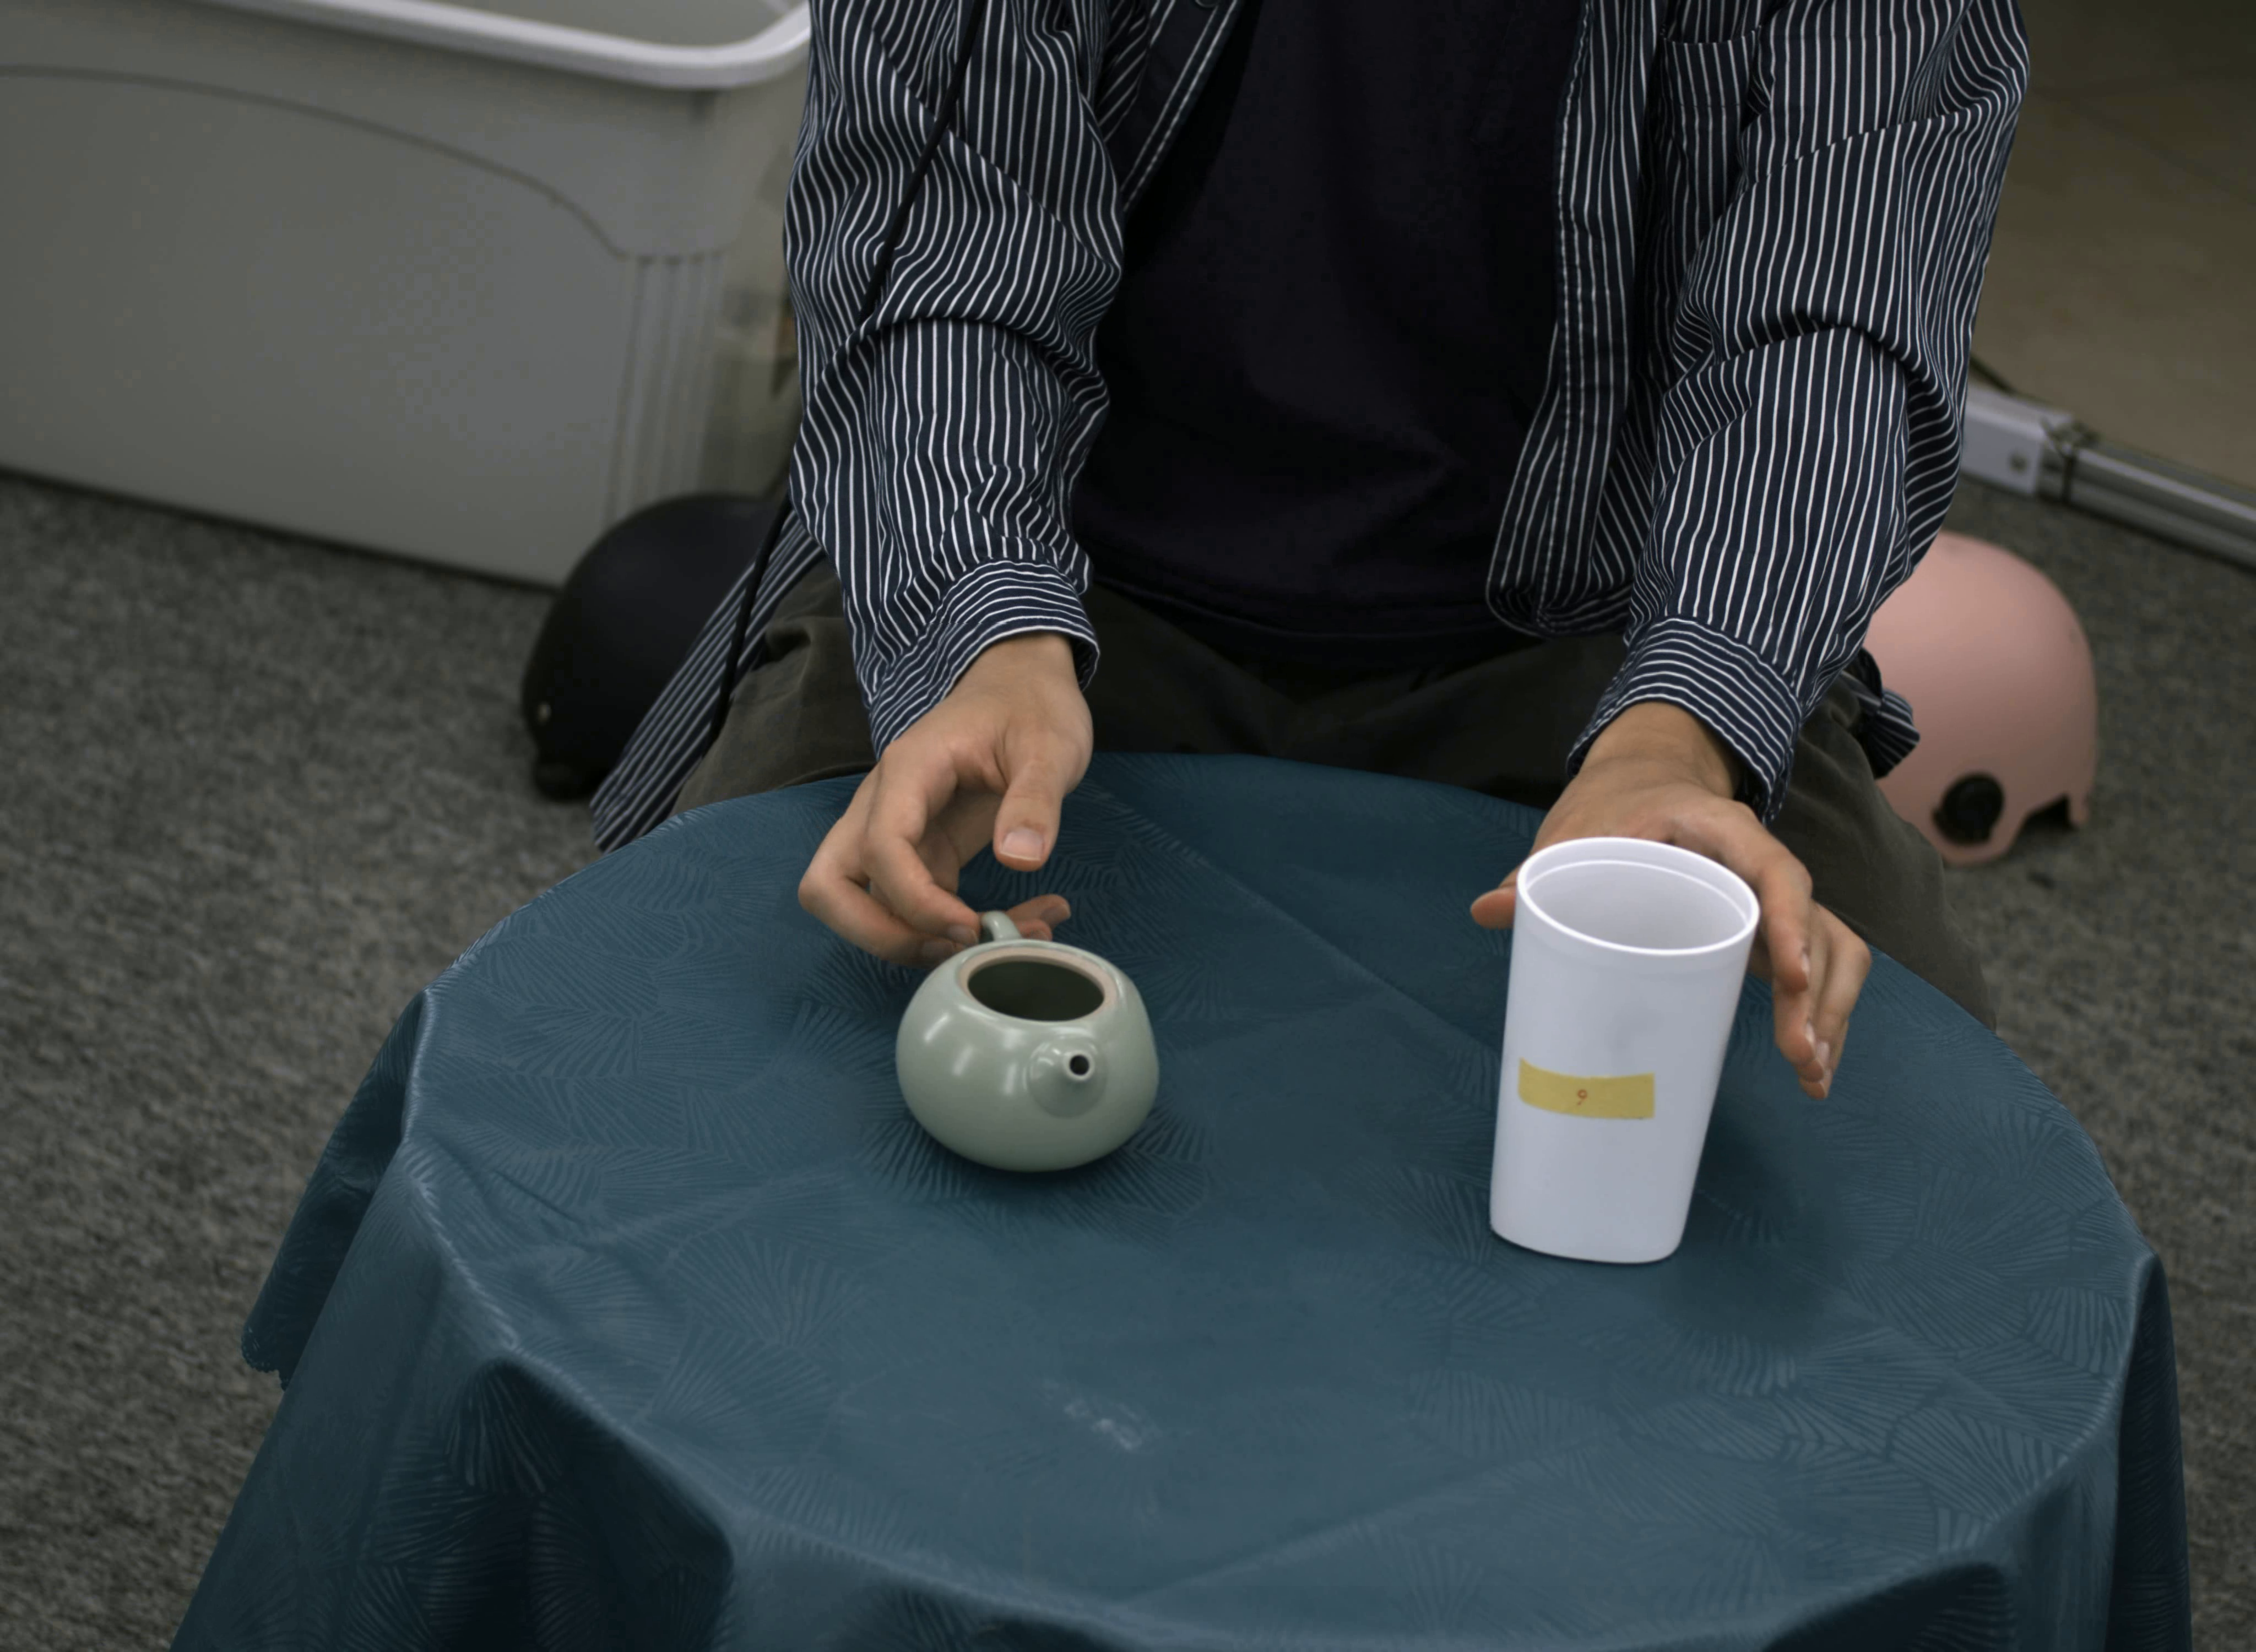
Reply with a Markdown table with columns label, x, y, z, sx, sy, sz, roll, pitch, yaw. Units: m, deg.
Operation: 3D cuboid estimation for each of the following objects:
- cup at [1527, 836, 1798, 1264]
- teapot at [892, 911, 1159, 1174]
| label | x | y | z | sx | sy | sz | roll | pitch | yaw |
| --- | --- | --- | --- | --- | --- | --- | --- | --- | --- |
| cup | 0.175 | 0.077 | 1.784 | 0.081 | 0.125 | 0.082 | 5 | 26 | -3 |
| teapot | -0.037 | 0.075 | 1.822 | 0.091 | 0.061 | 0.129 | -2 | 27 | -12 |
